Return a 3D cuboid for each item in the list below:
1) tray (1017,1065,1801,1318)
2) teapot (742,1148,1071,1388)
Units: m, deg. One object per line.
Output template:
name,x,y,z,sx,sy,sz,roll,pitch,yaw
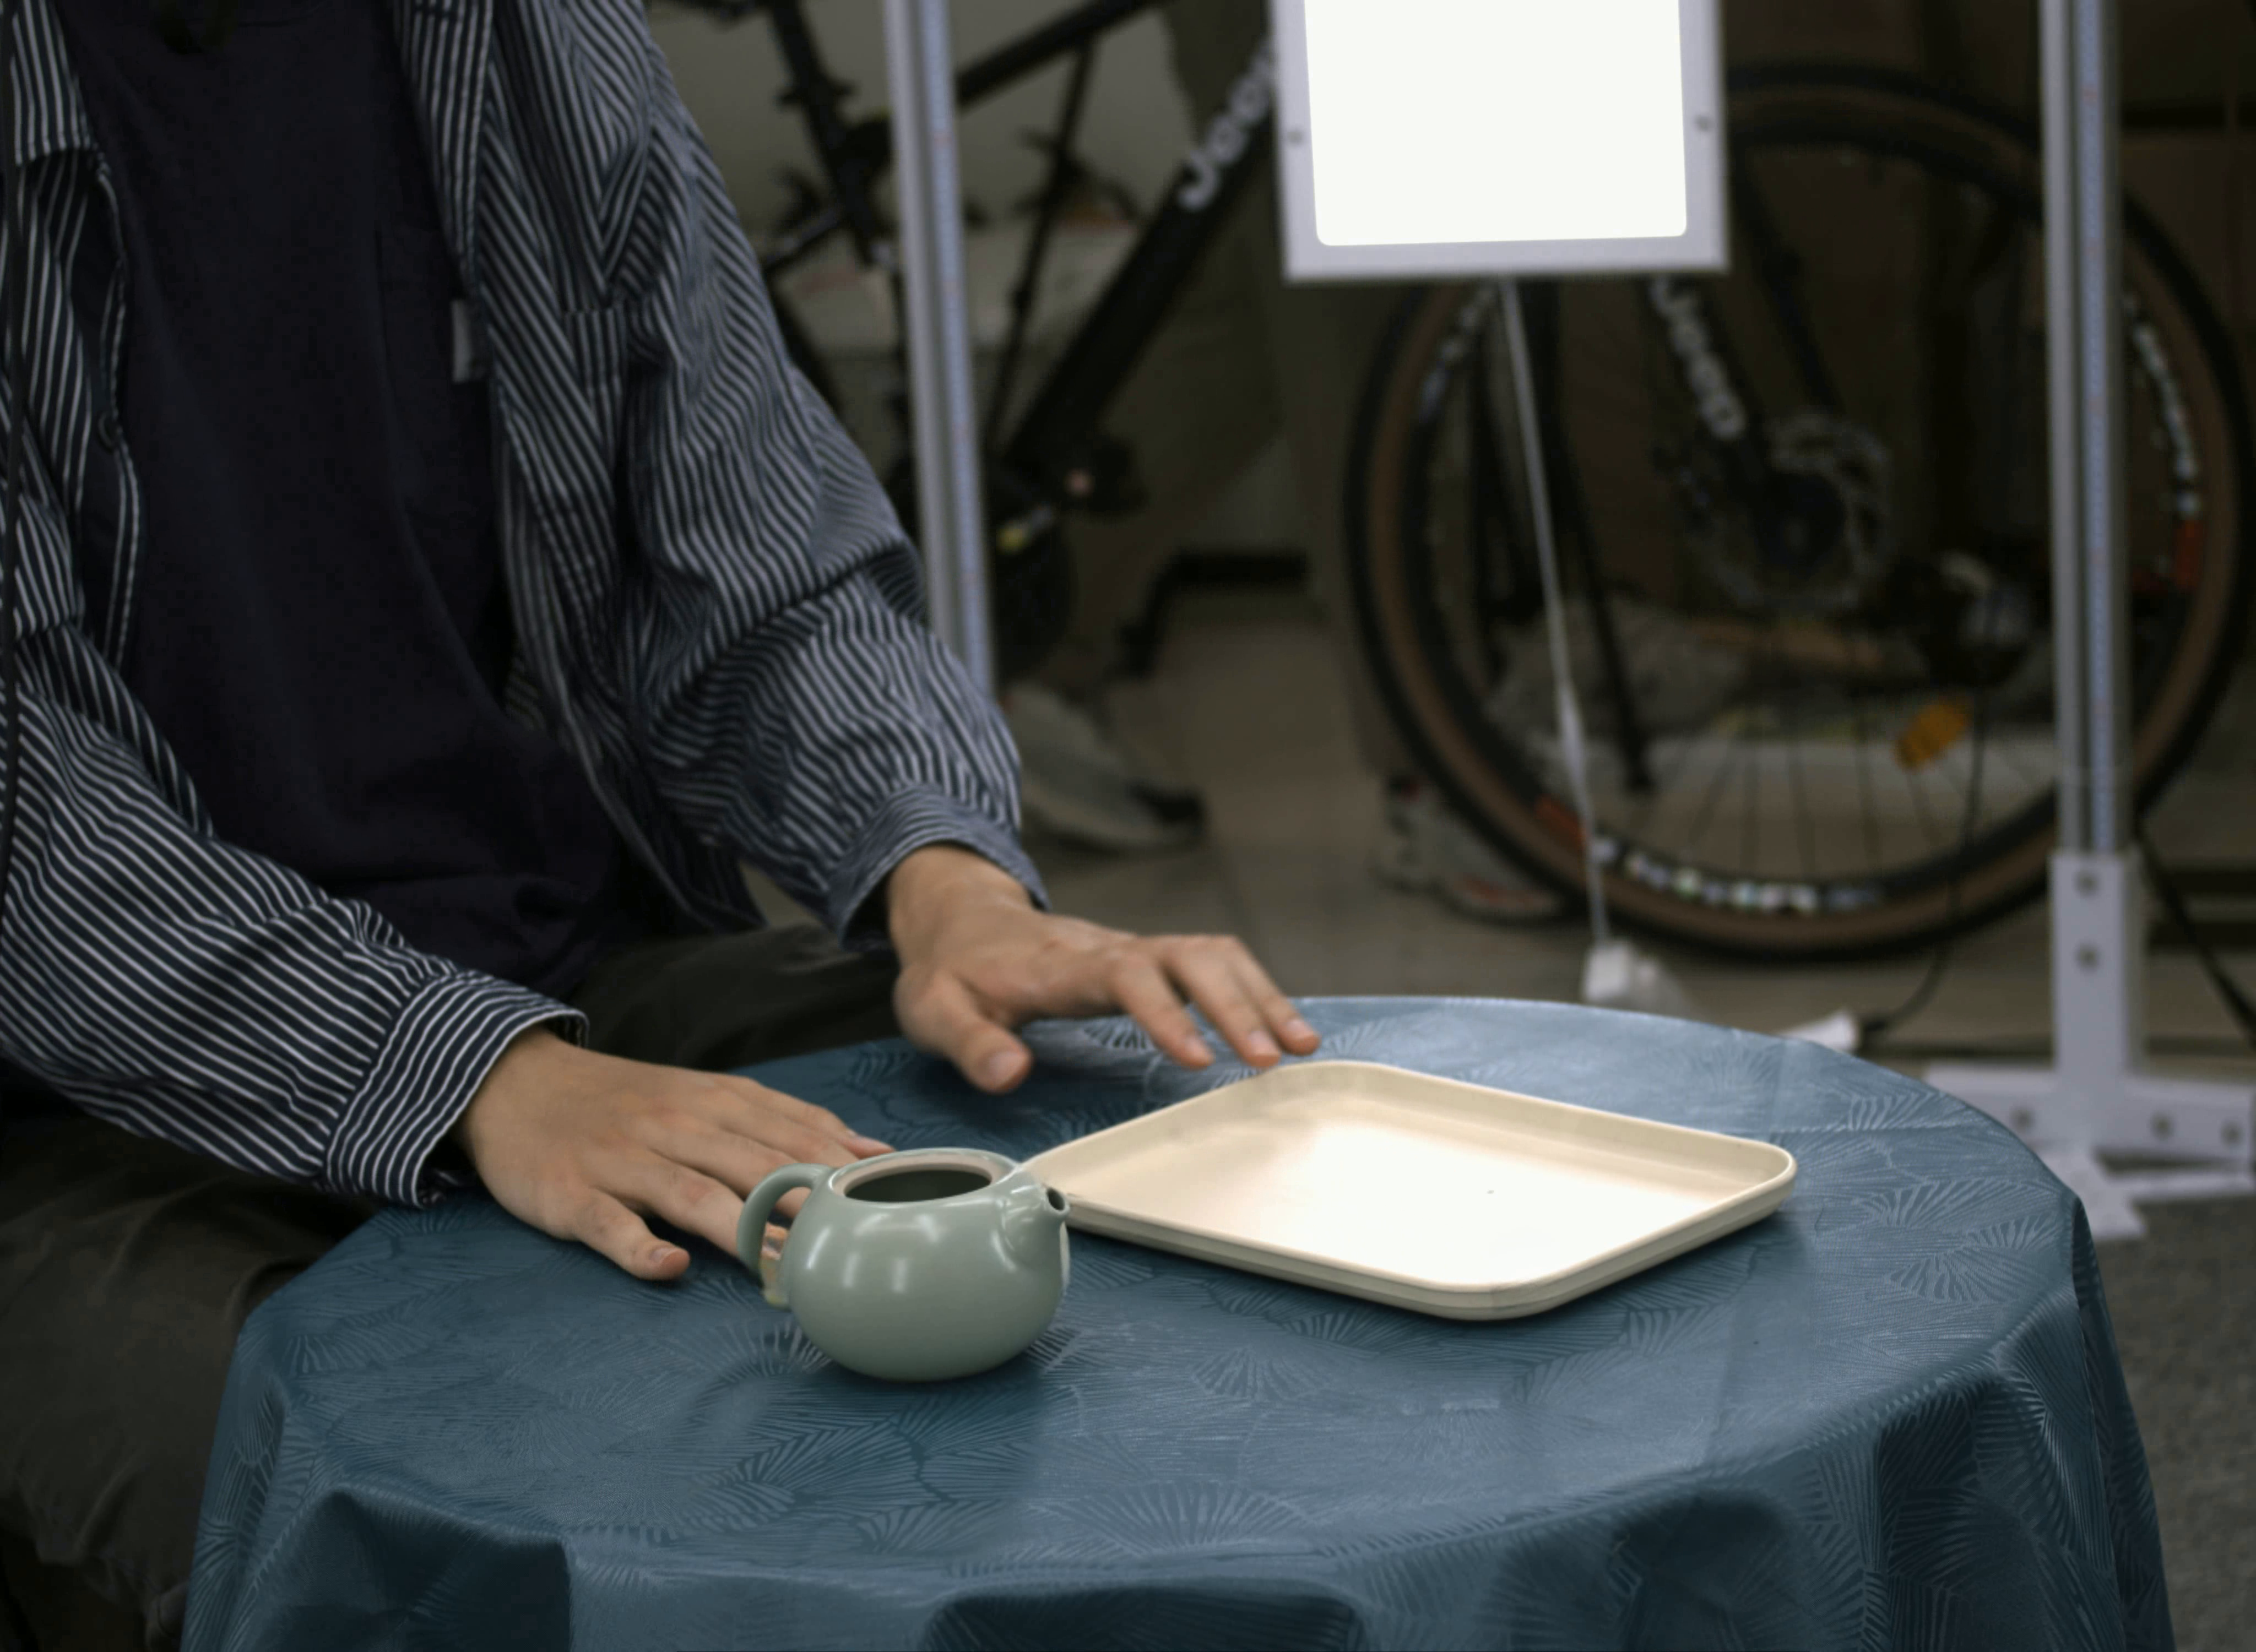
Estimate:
tray,0.093,0.121,1.842,0.167,0.017,0.245,-17,17,-41
teapot,-0.071,0.139,1.746,0.131,0.061,0.089,5,19,37
